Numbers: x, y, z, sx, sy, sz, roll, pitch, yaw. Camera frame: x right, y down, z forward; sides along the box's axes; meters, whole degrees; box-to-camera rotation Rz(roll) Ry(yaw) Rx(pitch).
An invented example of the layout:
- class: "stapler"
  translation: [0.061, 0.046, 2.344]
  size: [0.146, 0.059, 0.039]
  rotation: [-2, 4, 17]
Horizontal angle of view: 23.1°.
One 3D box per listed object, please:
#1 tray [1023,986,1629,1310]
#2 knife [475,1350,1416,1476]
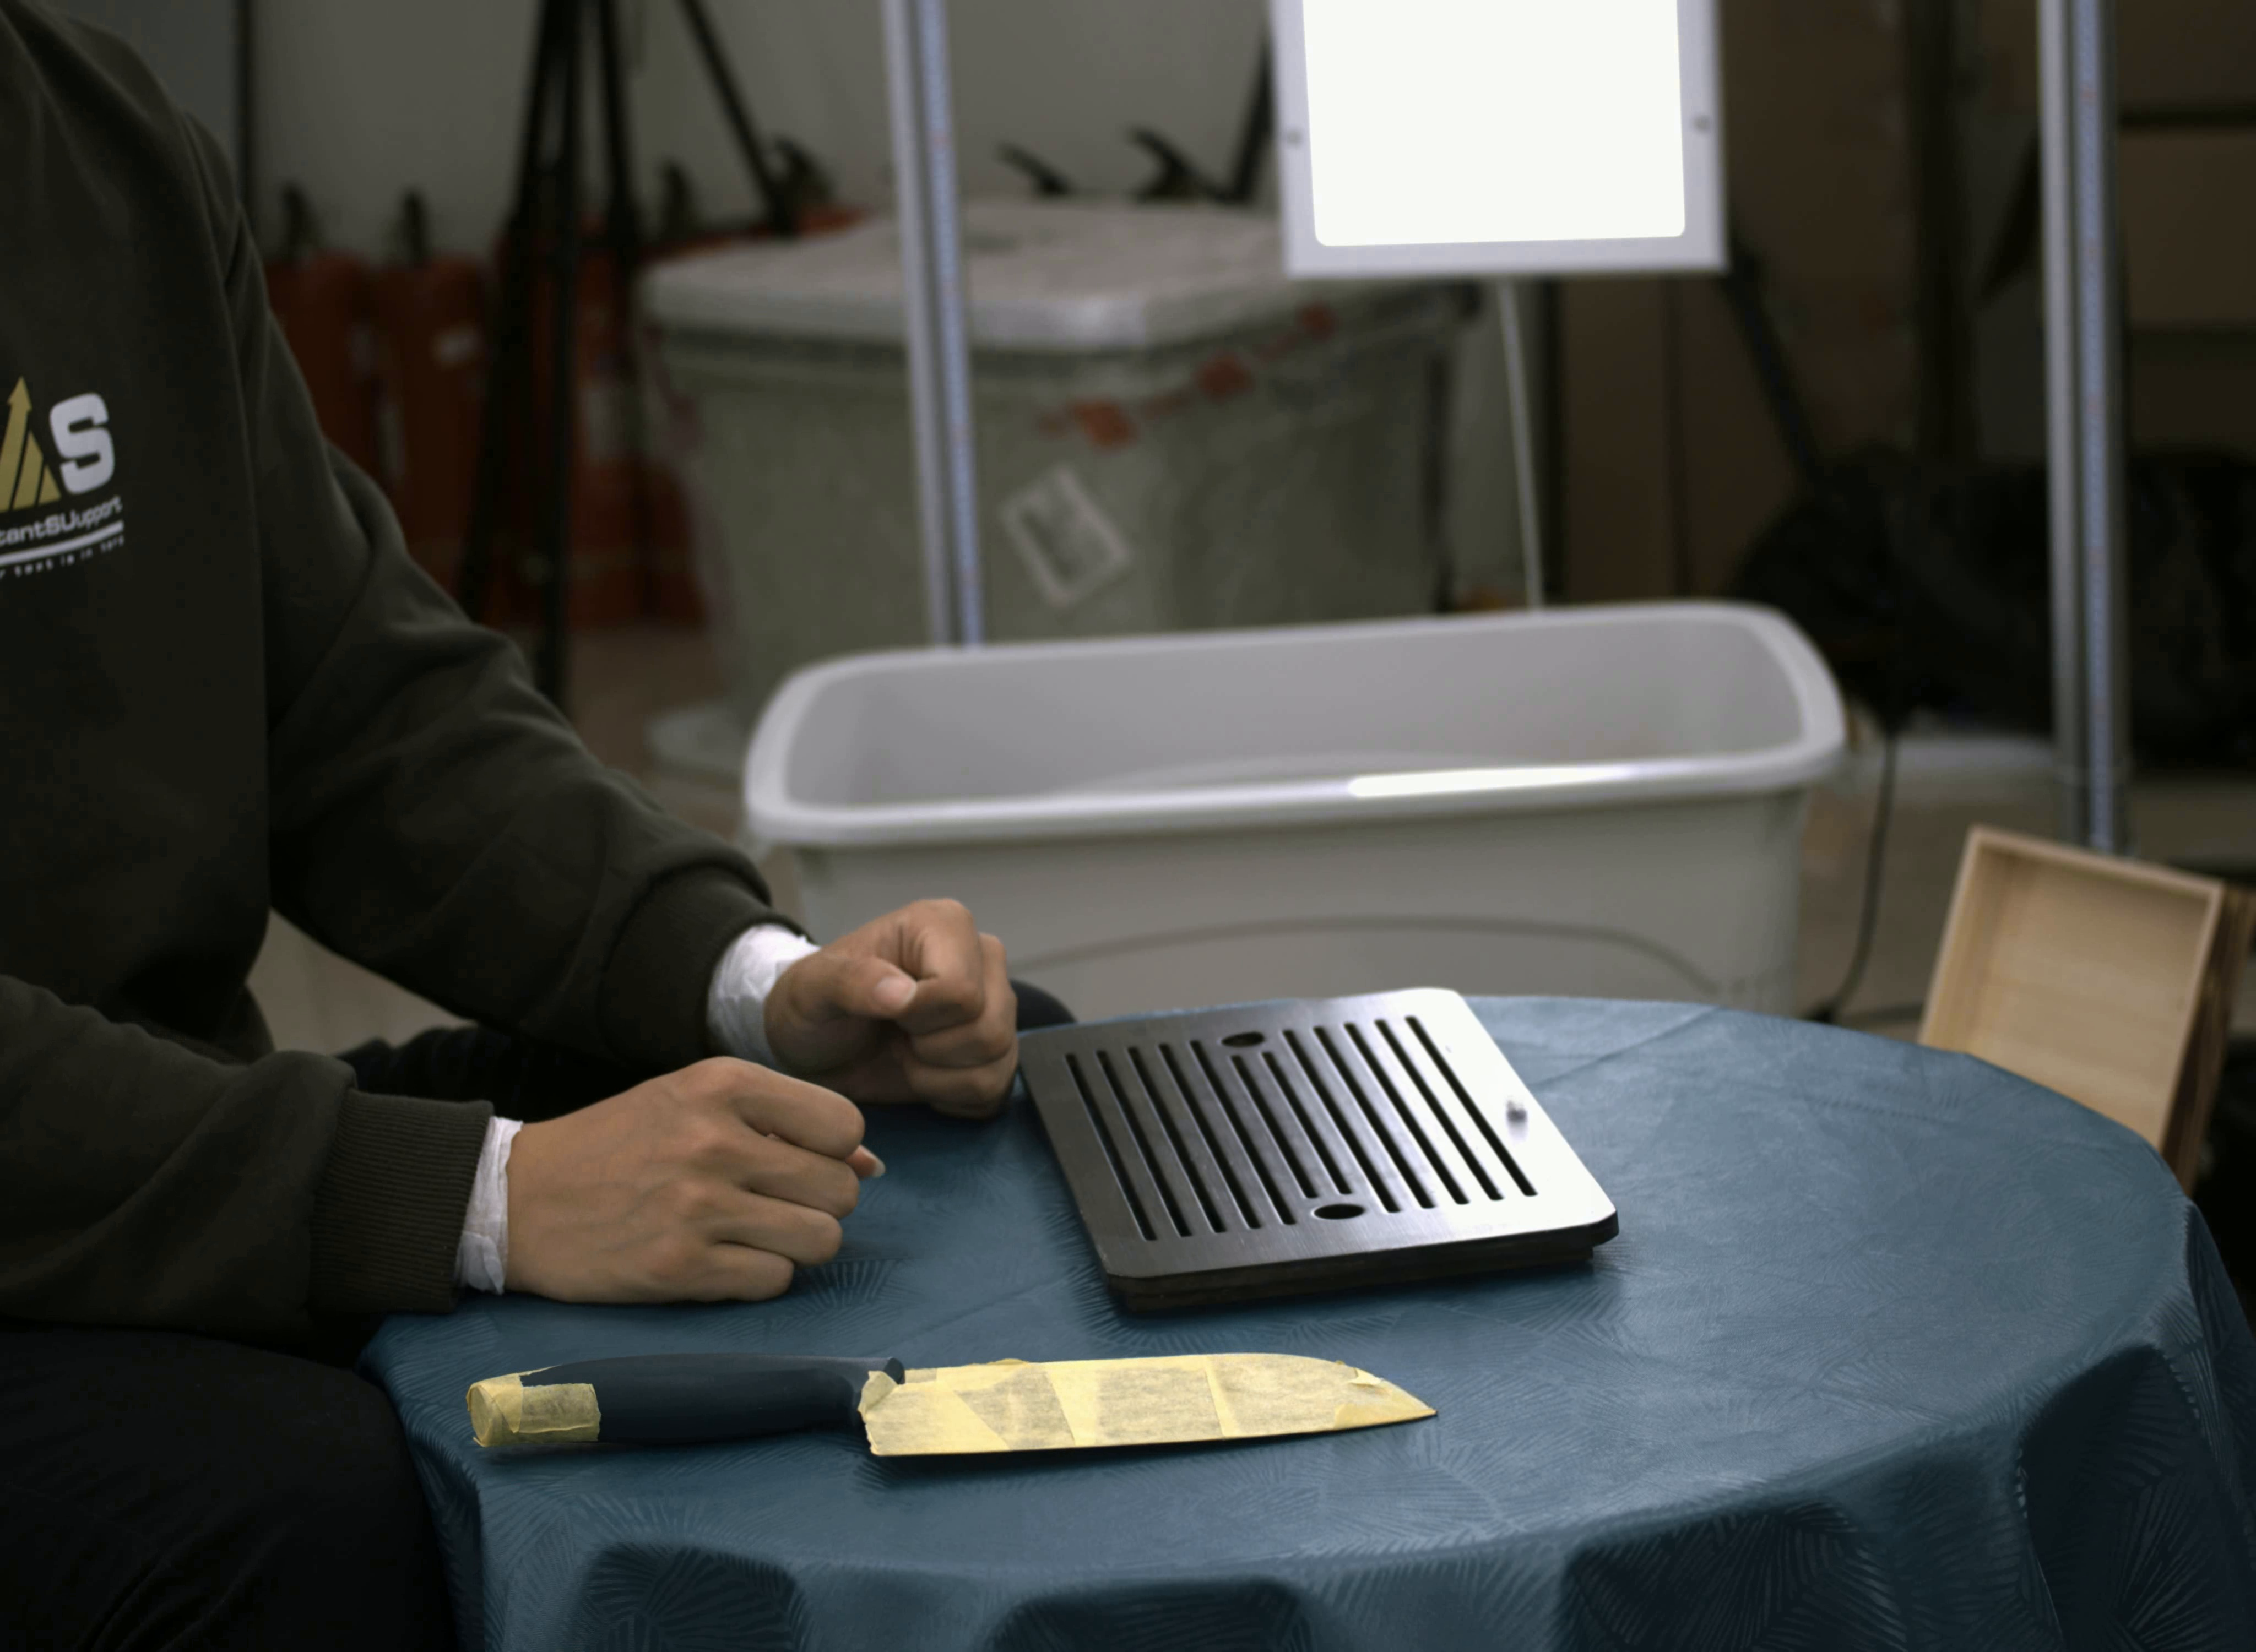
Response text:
- class: "tray"
  translation: [0.062, 0.109, 1.913]
  size: [0.169, 0.019, 0.307]
  rotation: [-7, 13, -5]
- class: "knife"
  translation: [-0.055, 0.179, 1.677]
  size: [0.289, 0.027, 0.081]
  rotation: [-4, 12, 1]
